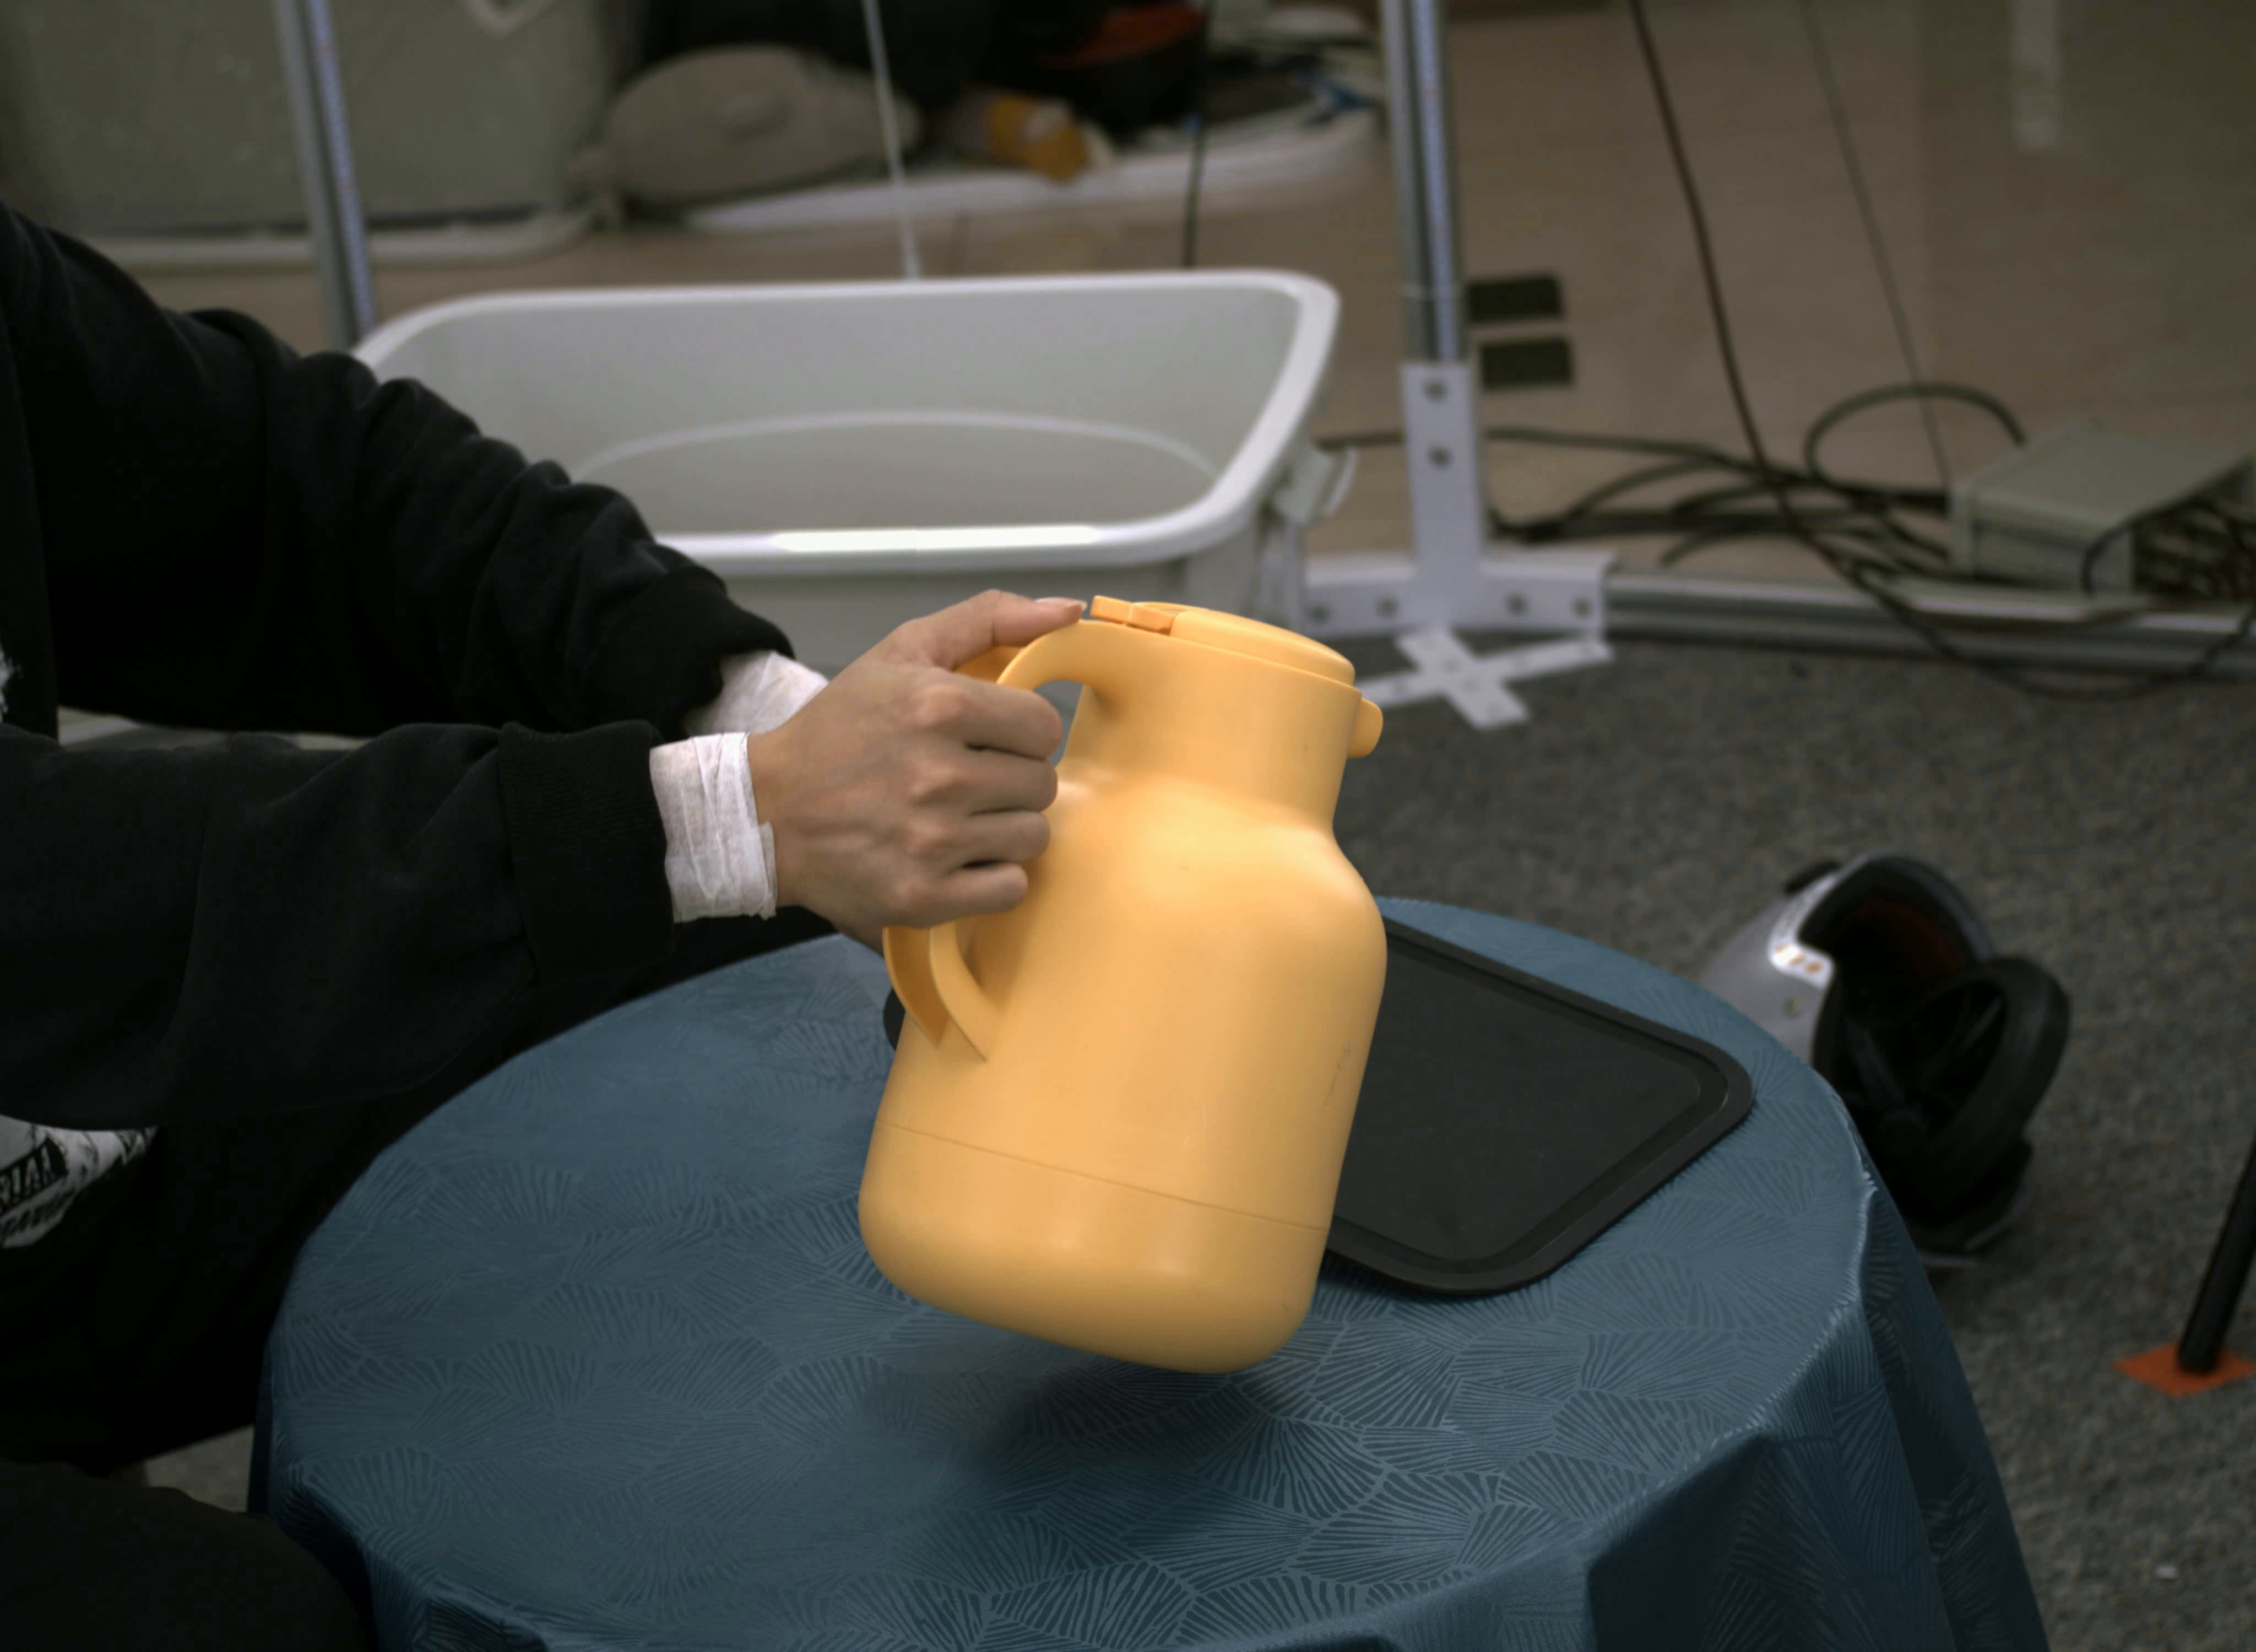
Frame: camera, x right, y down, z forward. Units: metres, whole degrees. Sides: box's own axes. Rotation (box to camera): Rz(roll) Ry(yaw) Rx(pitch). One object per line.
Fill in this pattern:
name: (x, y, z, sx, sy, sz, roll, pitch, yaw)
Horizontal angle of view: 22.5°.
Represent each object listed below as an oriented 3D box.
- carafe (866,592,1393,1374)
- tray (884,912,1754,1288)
carafe: (-0.005, 0.049, 1.971, 0.203, 0.260, 0.162, 15, -4, -42)
tray: (0.065, 0.086, 2.186, 0.323, 0.010, 0.209, 22, 36, 32)
